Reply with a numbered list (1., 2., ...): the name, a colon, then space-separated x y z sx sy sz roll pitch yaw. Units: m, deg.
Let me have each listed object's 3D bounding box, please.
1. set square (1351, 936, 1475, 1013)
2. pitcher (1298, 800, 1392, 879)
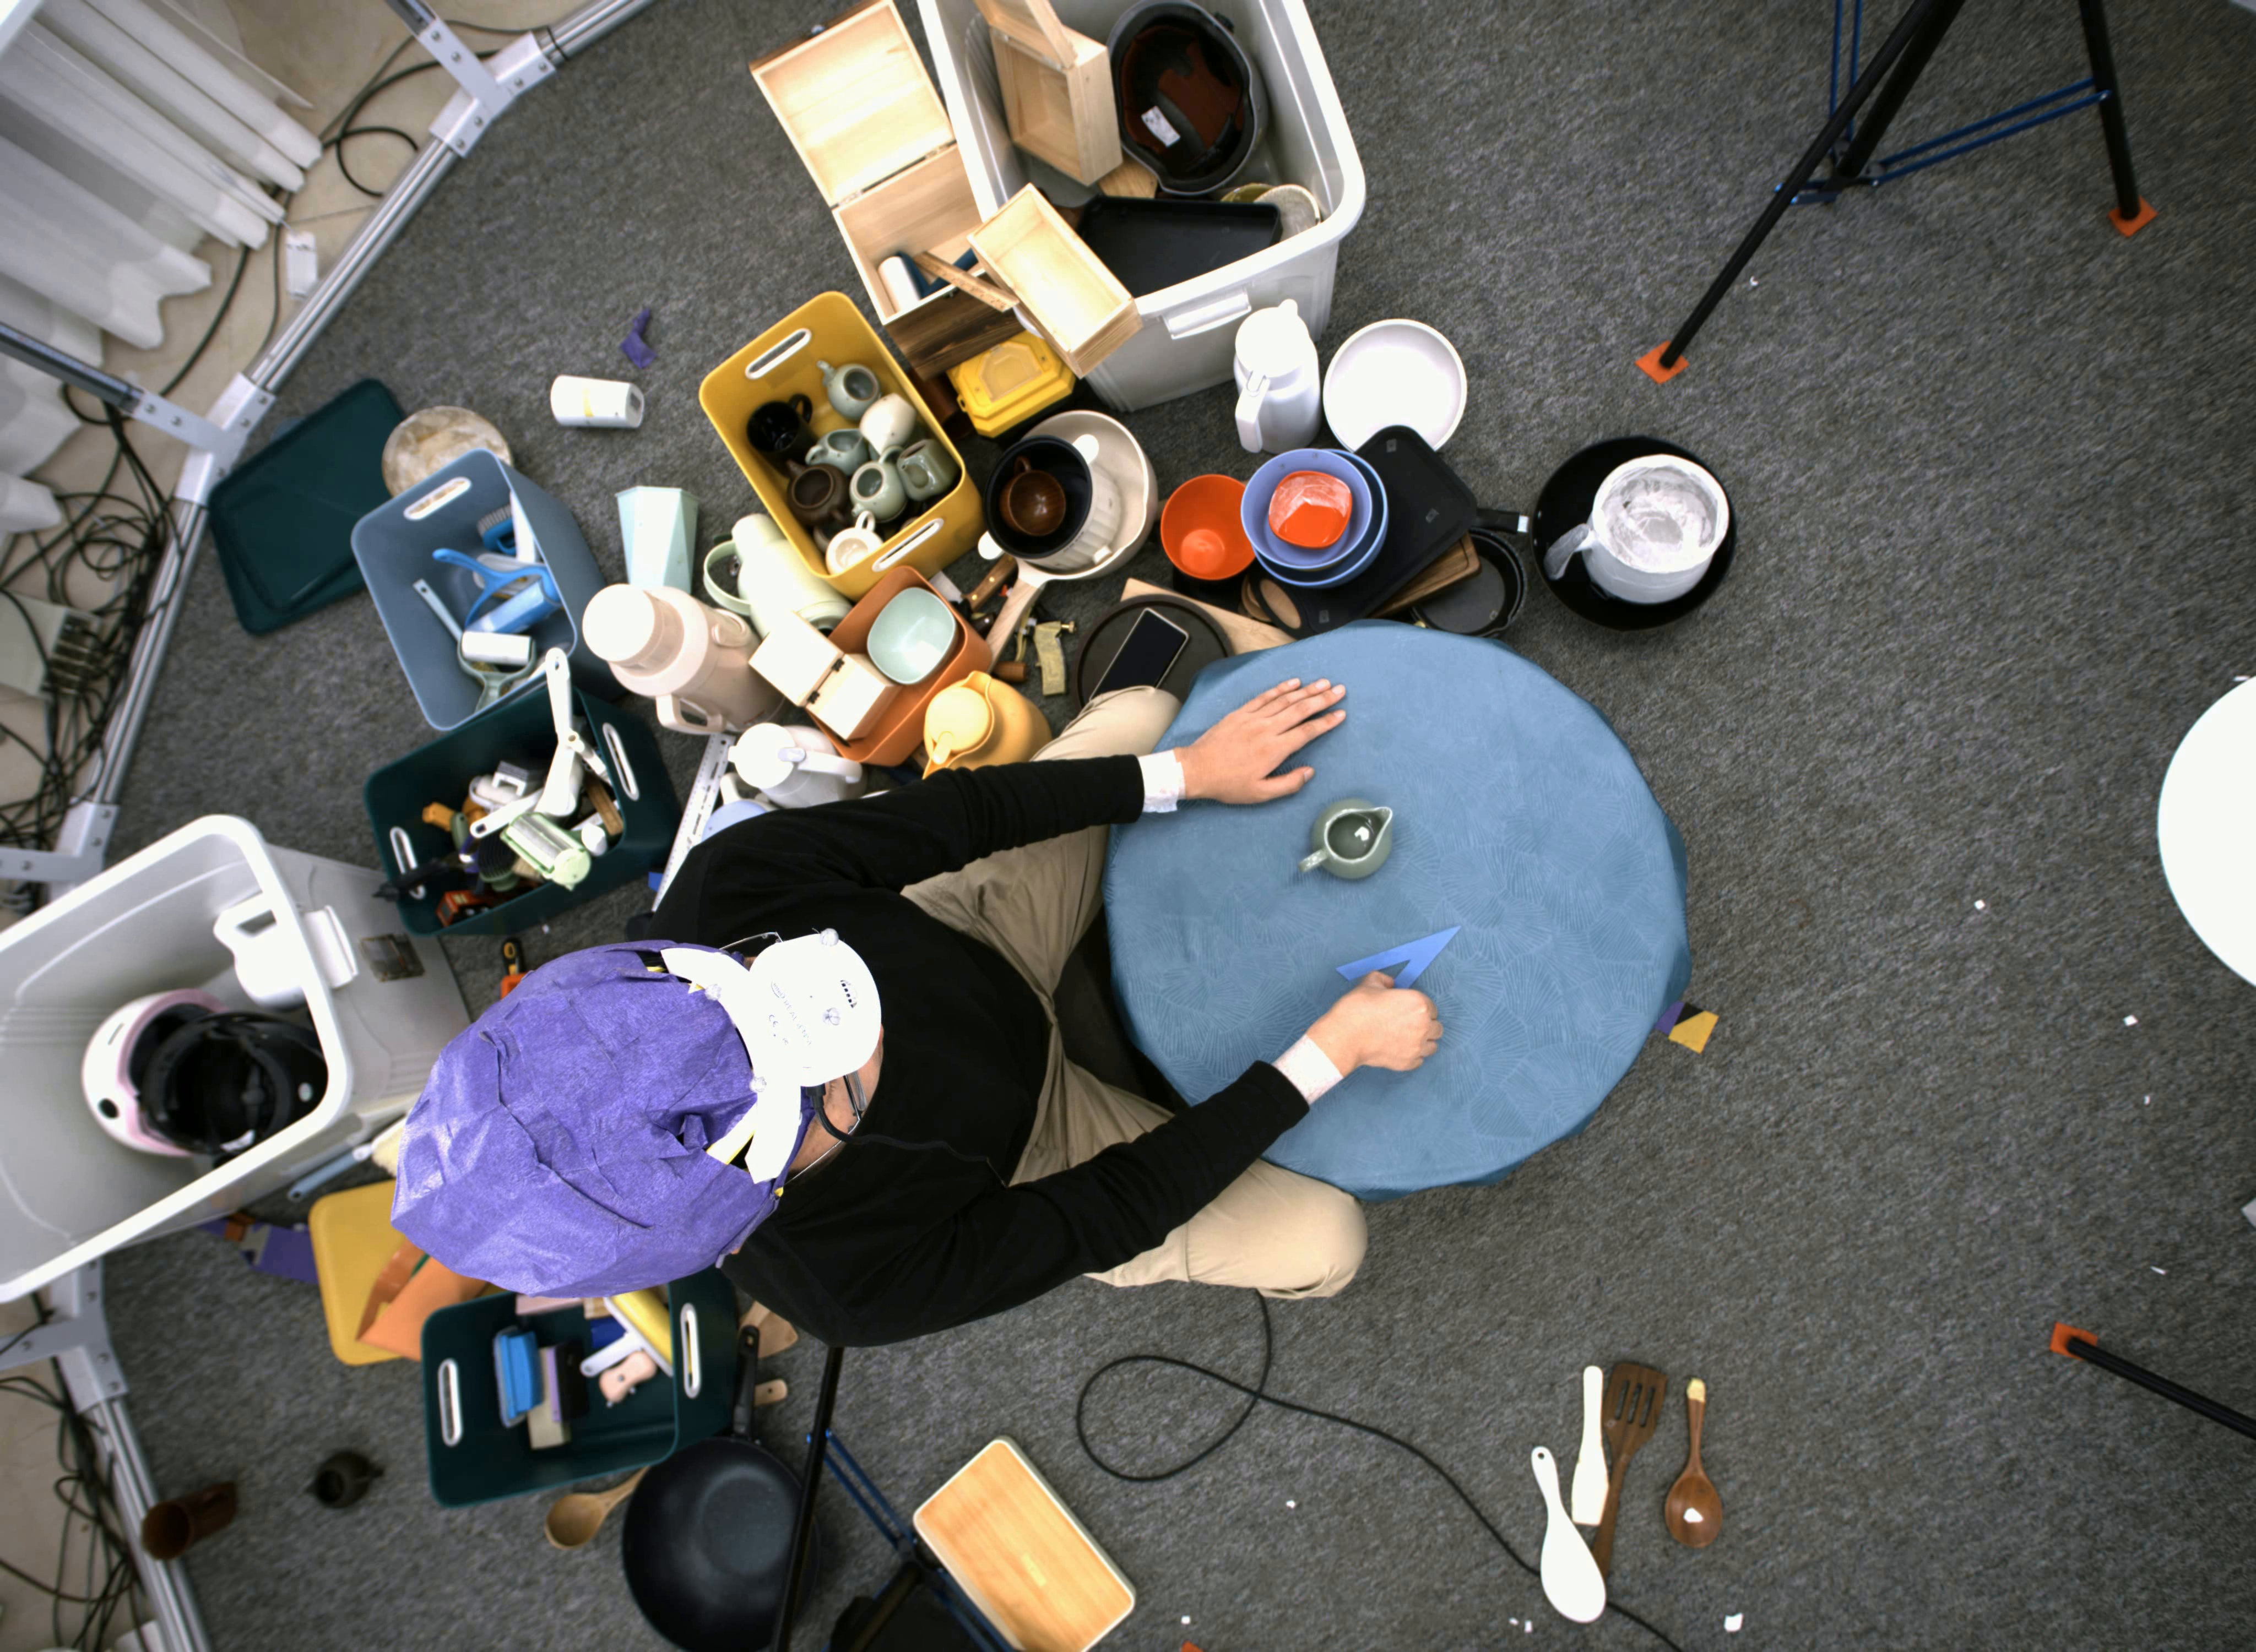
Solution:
1. set square: 0.304 0.155 1.447 0.133 0.006 0.060 -16 82 9
2. pitcher: 0.228 0.015 1.443 0.113 0.056 0.083 -34 79 7
